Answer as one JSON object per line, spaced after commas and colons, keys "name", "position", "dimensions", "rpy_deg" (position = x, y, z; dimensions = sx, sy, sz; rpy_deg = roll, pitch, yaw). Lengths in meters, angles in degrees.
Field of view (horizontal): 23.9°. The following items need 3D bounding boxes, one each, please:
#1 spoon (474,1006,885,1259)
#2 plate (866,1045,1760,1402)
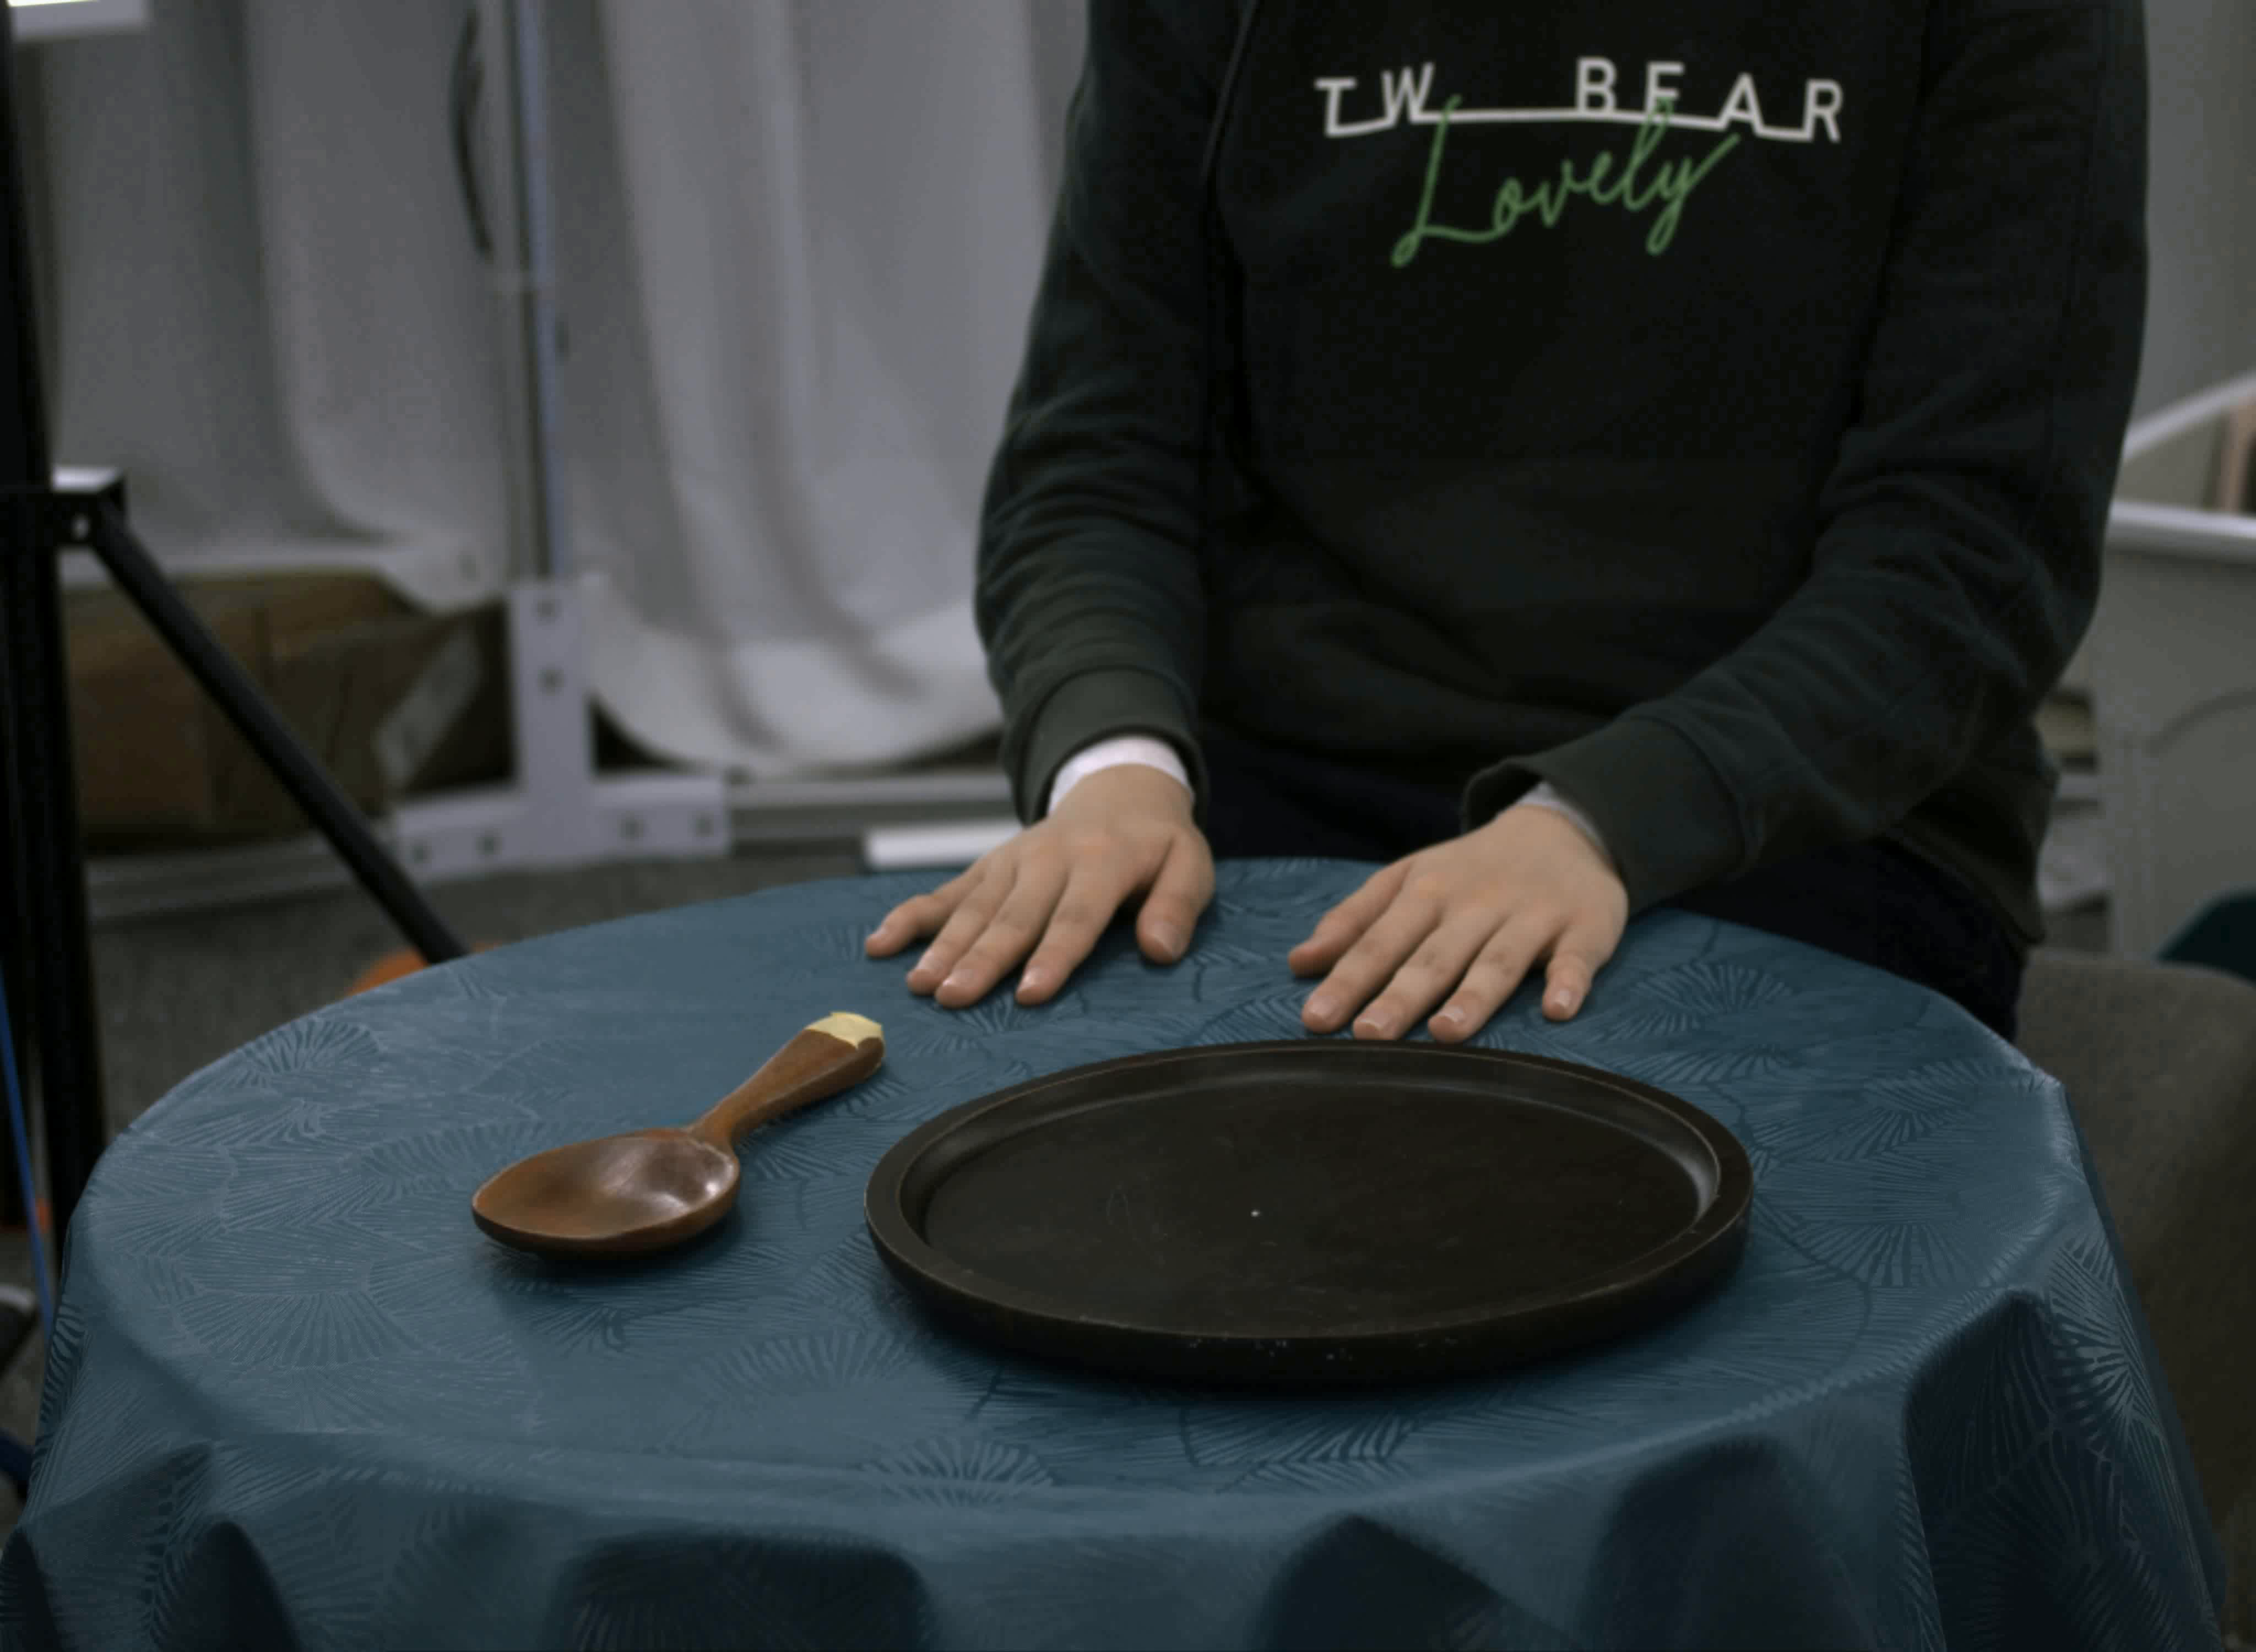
{"name": "spoon", "position": [-0.125, 0.093, 1.599], "dimensions": [0.076, 0.017, 0.213], "rpy_deg": [4, 17, 23]}
{"name": "plate", "position": [0.052, 0.110, 1.503], "dimensions": [0.253, 0.029, 0.256], "rpy_deg": [-2, 17, -1]}
